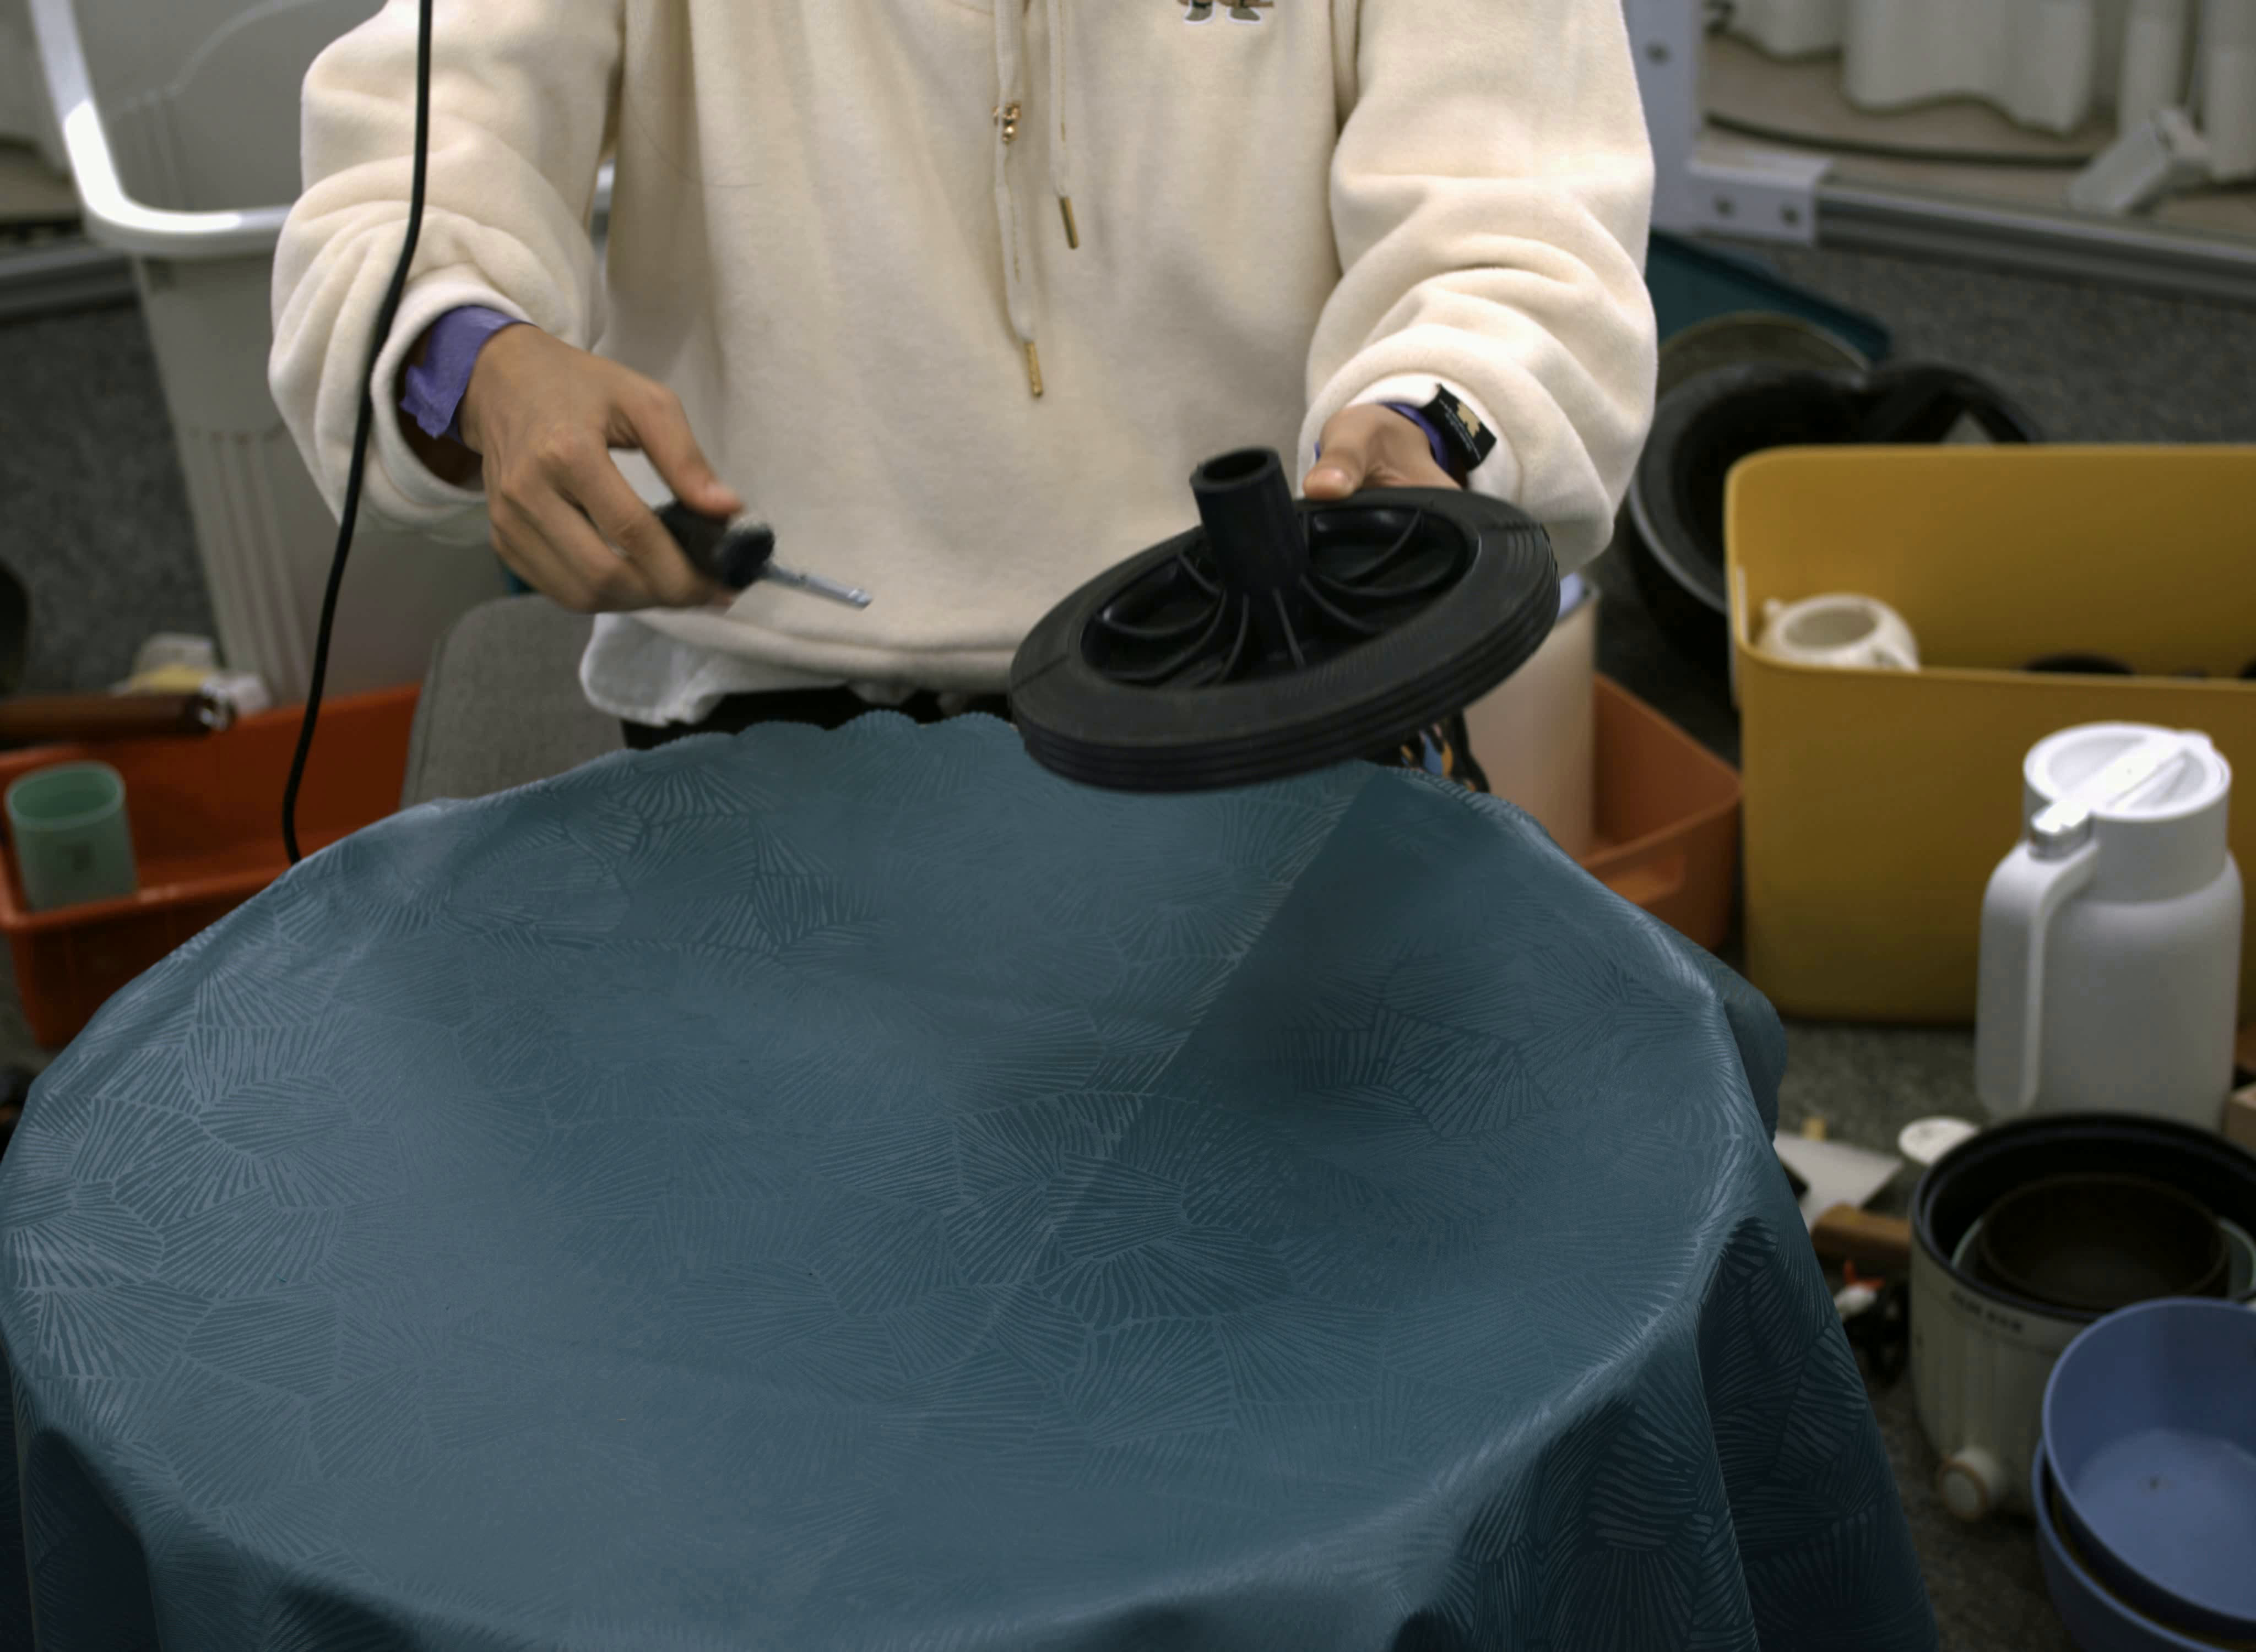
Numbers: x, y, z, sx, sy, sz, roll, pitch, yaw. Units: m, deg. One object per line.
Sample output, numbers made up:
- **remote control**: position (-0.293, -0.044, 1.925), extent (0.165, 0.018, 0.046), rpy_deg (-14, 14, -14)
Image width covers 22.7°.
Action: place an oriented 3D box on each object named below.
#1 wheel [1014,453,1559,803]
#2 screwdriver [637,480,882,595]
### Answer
- **wheel**: position (0.046, -0.082, 1.871), extent (0.185, 0.078, 0.193), rpy_deg (-2, 29, 31)
- **screwdriver**: position (-0.127, -0.099, 1.944), extent (0.031, 0.031, 0.196), rpy_deg (-15, 14, -23)
